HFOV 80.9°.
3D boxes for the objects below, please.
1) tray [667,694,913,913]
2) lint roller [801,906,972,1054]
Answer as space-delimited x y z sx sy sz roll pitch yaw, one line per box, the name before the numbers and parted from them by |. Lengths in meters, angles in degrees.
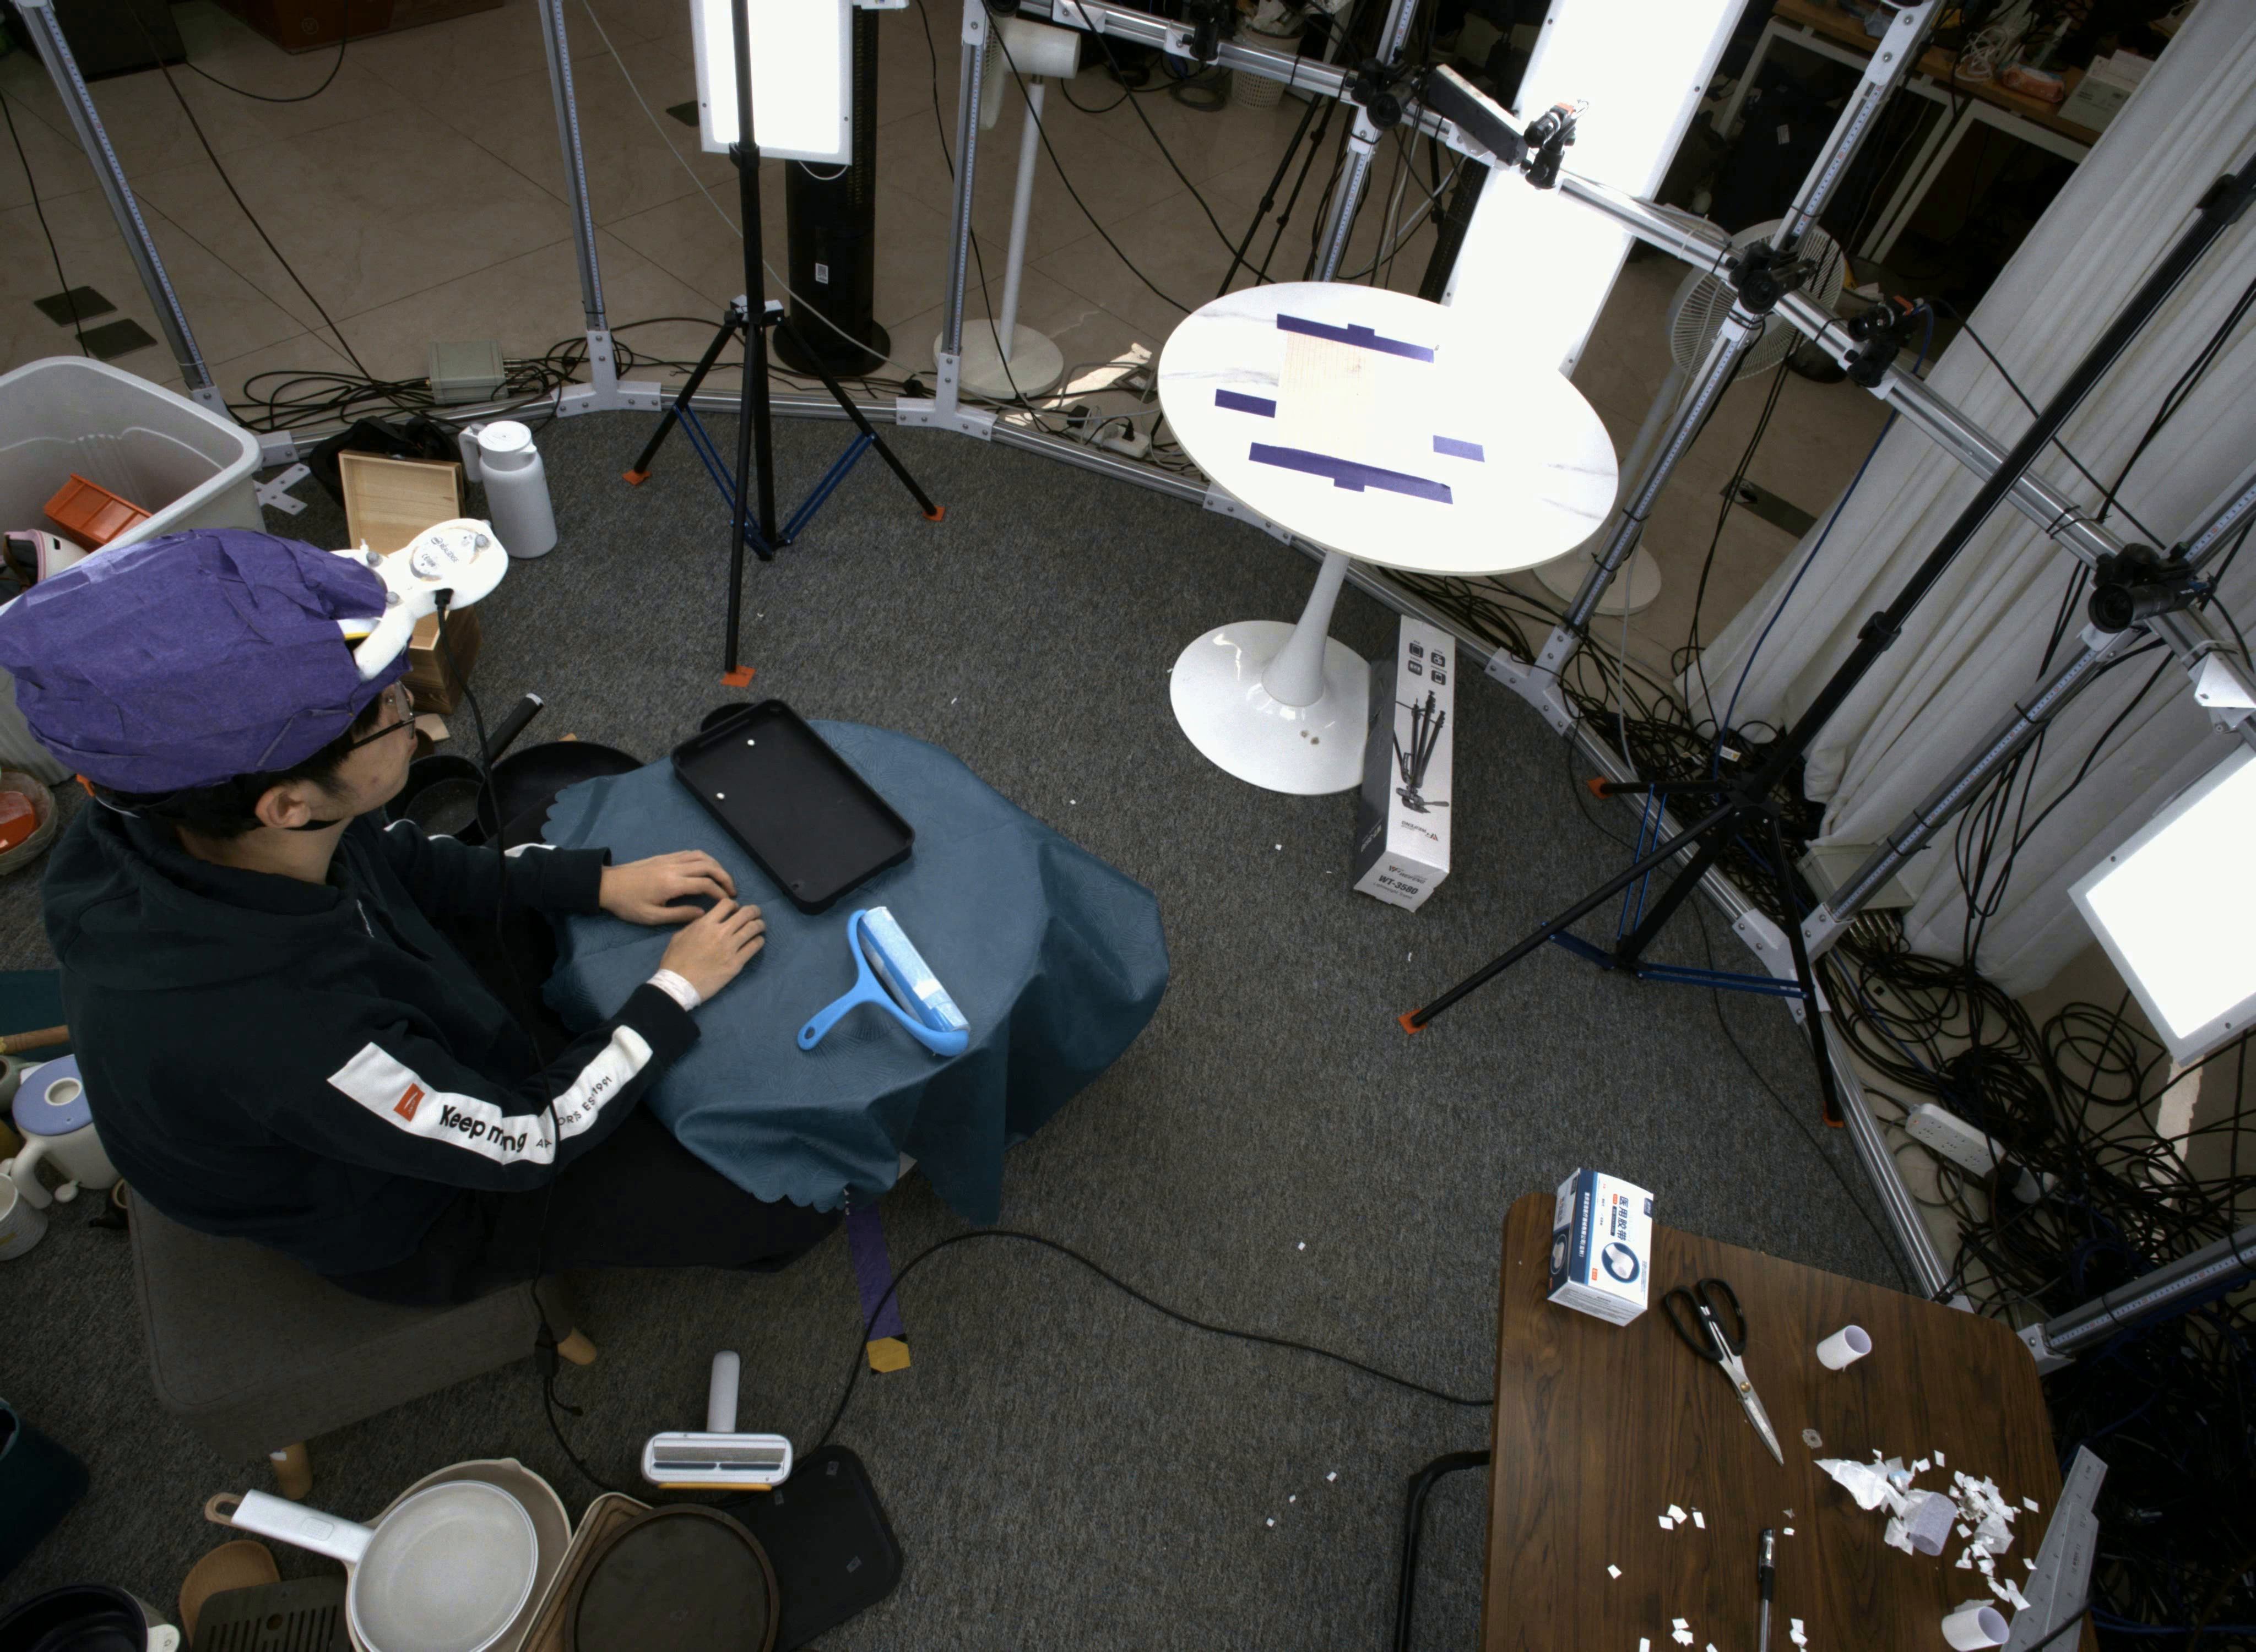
tray | -0.452 -0.036 1.727 0.311 0.038 0.184 42 56 15
lint roller | -0.312 0.209 1.569 0.181 0.069 0.224 -30 68 -32
